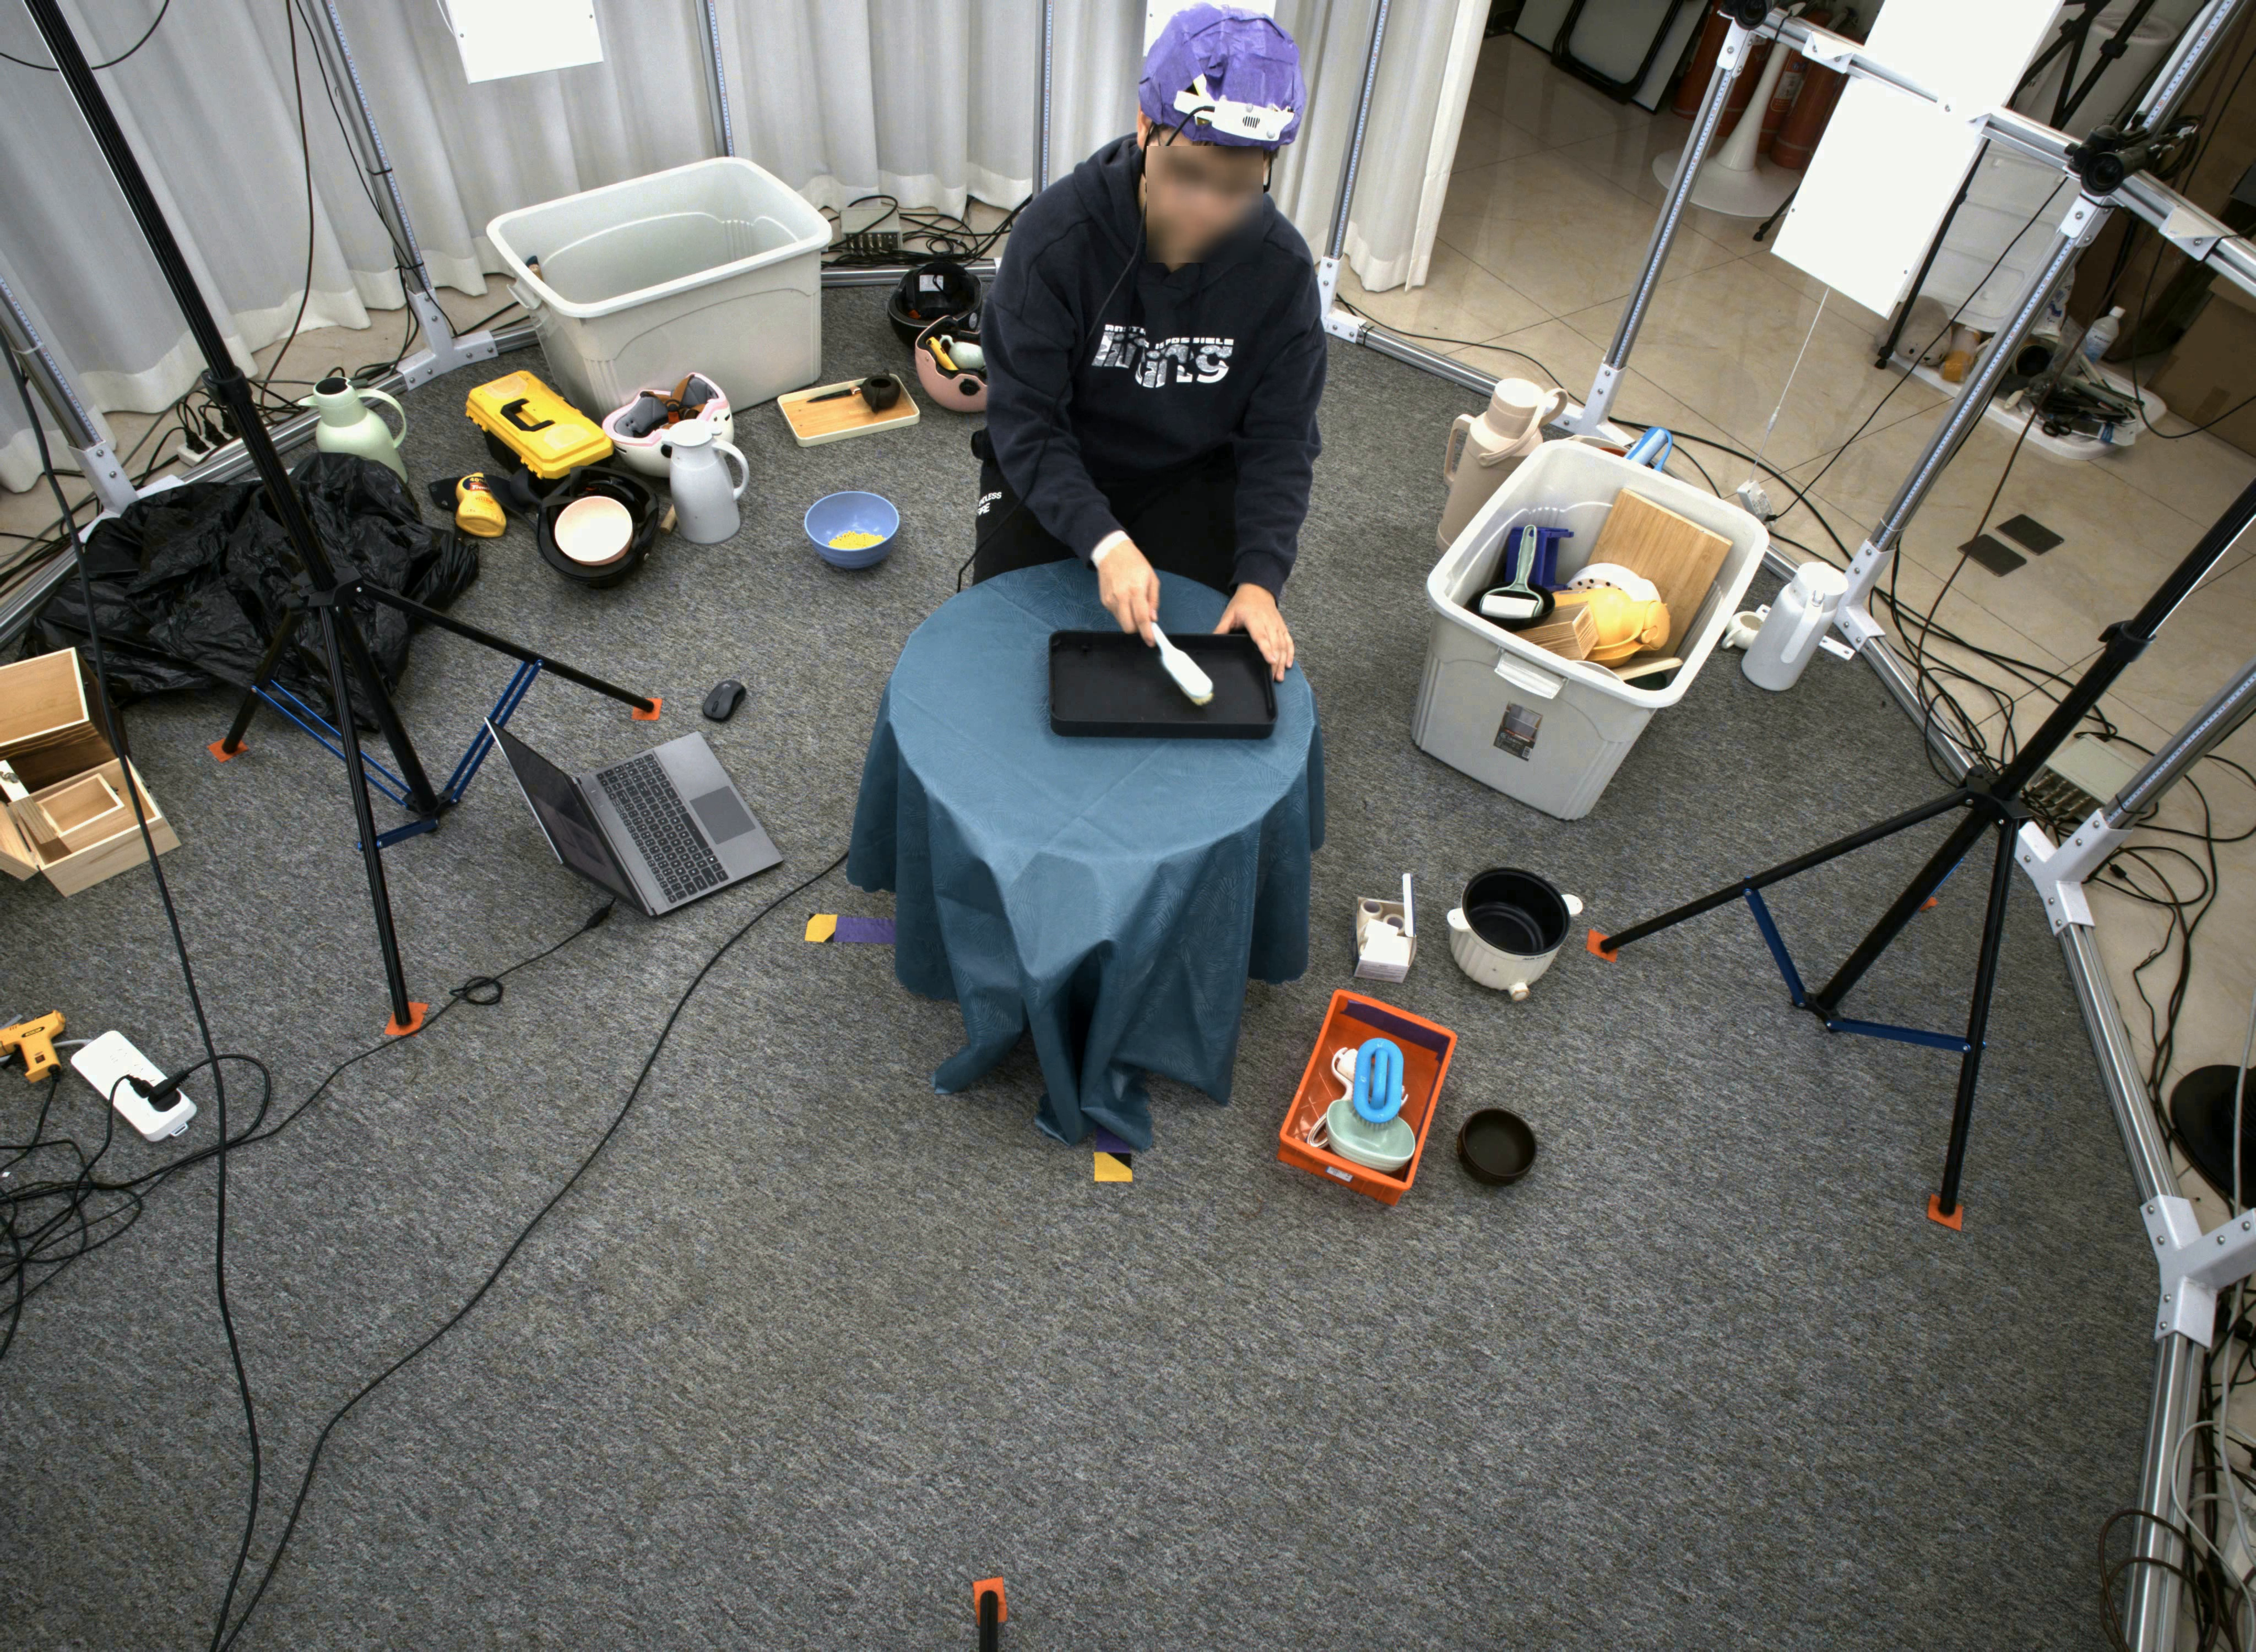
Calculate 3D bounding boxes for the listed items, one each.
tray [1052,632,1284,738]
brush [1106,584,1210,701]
[{"bbox_3d":[0.053,-0.202,1.822,0.317,0.036,0.189,-1,49,-5],"label":"tray"},{"bbox_3d":[0.040,-0.263,1.832,0.038,0.049,0.232,-36,66,-6],"label":"brush"}]
